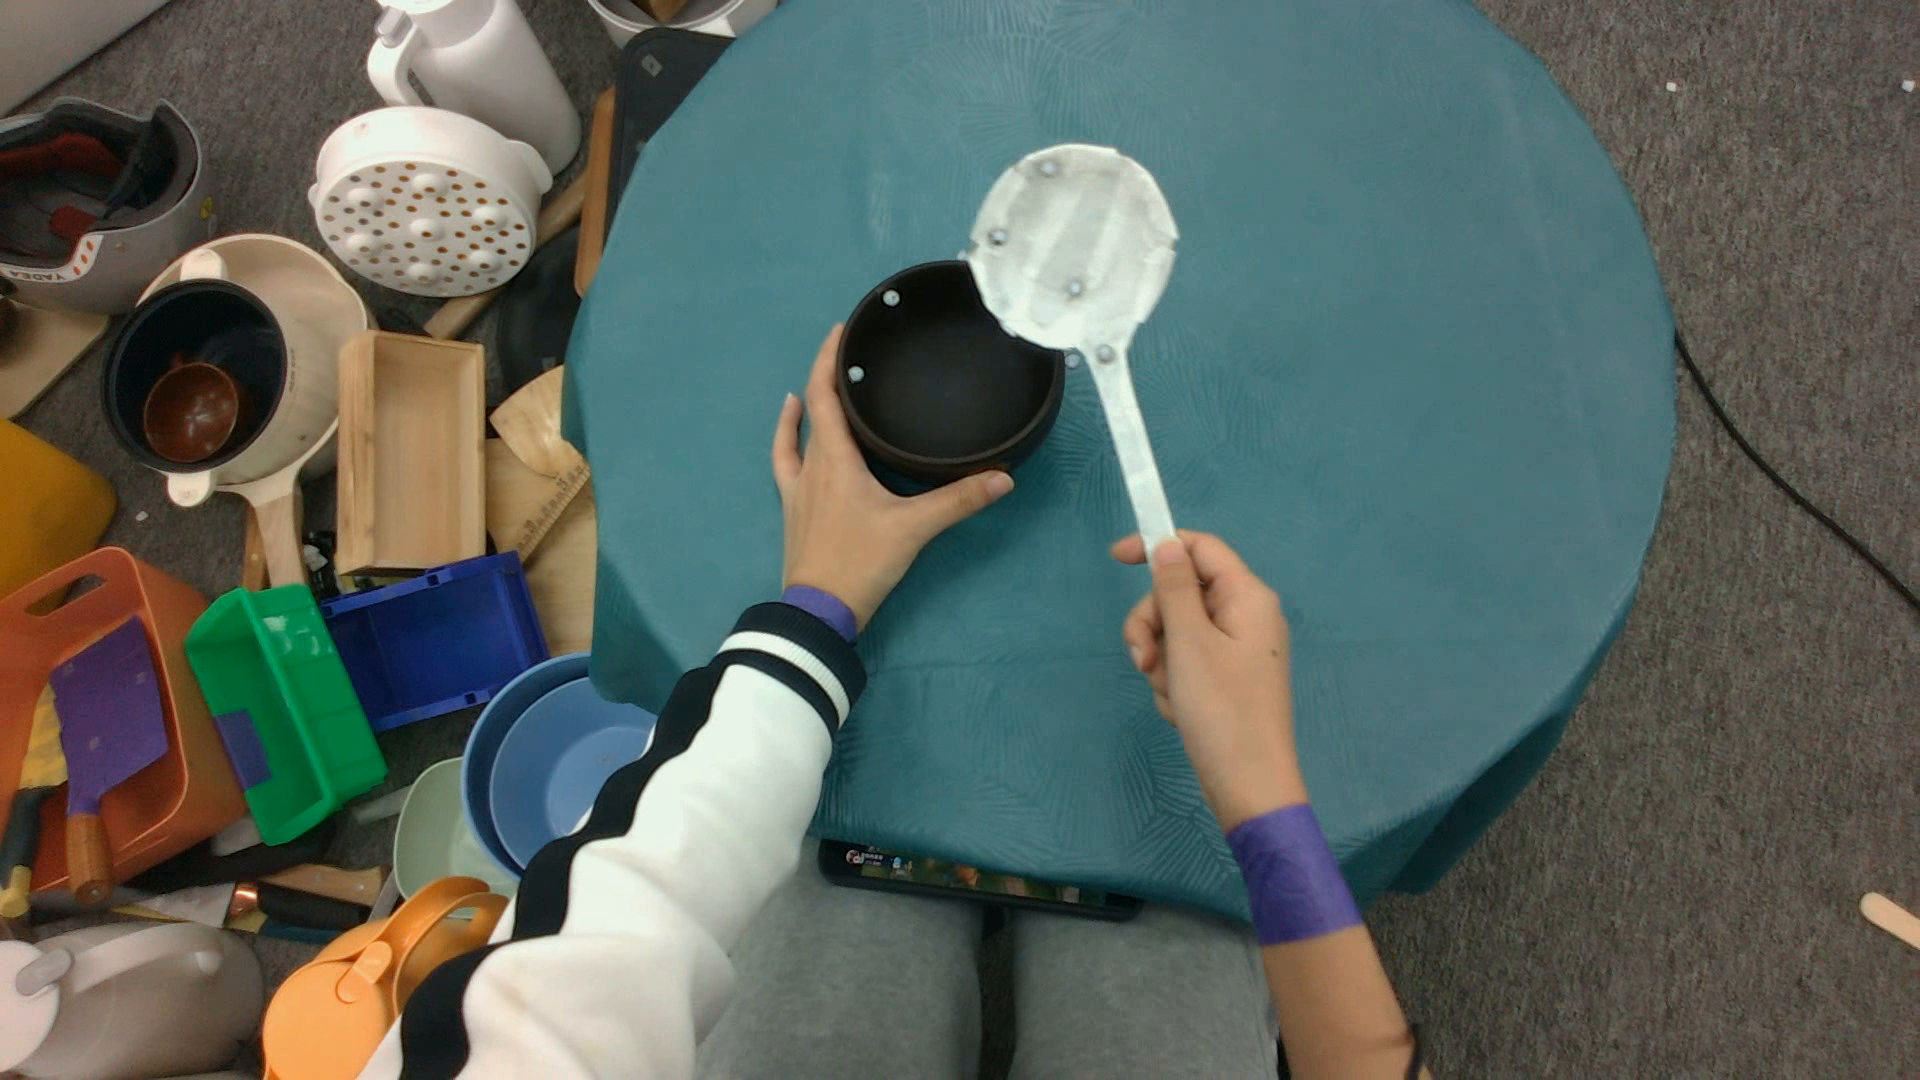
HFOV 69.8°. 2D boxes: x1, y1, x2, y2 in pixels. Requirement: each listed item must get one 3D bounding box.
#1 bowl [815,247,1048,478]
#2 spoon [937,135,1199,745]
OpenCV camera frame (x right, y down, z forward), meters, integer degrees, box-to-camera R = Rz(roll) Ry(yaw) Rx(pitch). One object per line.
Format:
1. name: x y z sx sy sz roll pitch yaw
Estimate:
1. bowl: -0.013 -0.086 0.719 0.118 0.069 0.118 -1 72 2
2. spoon: 0.057 -0.045 0.614 0.100 0.059 0.278 -16 74 15
